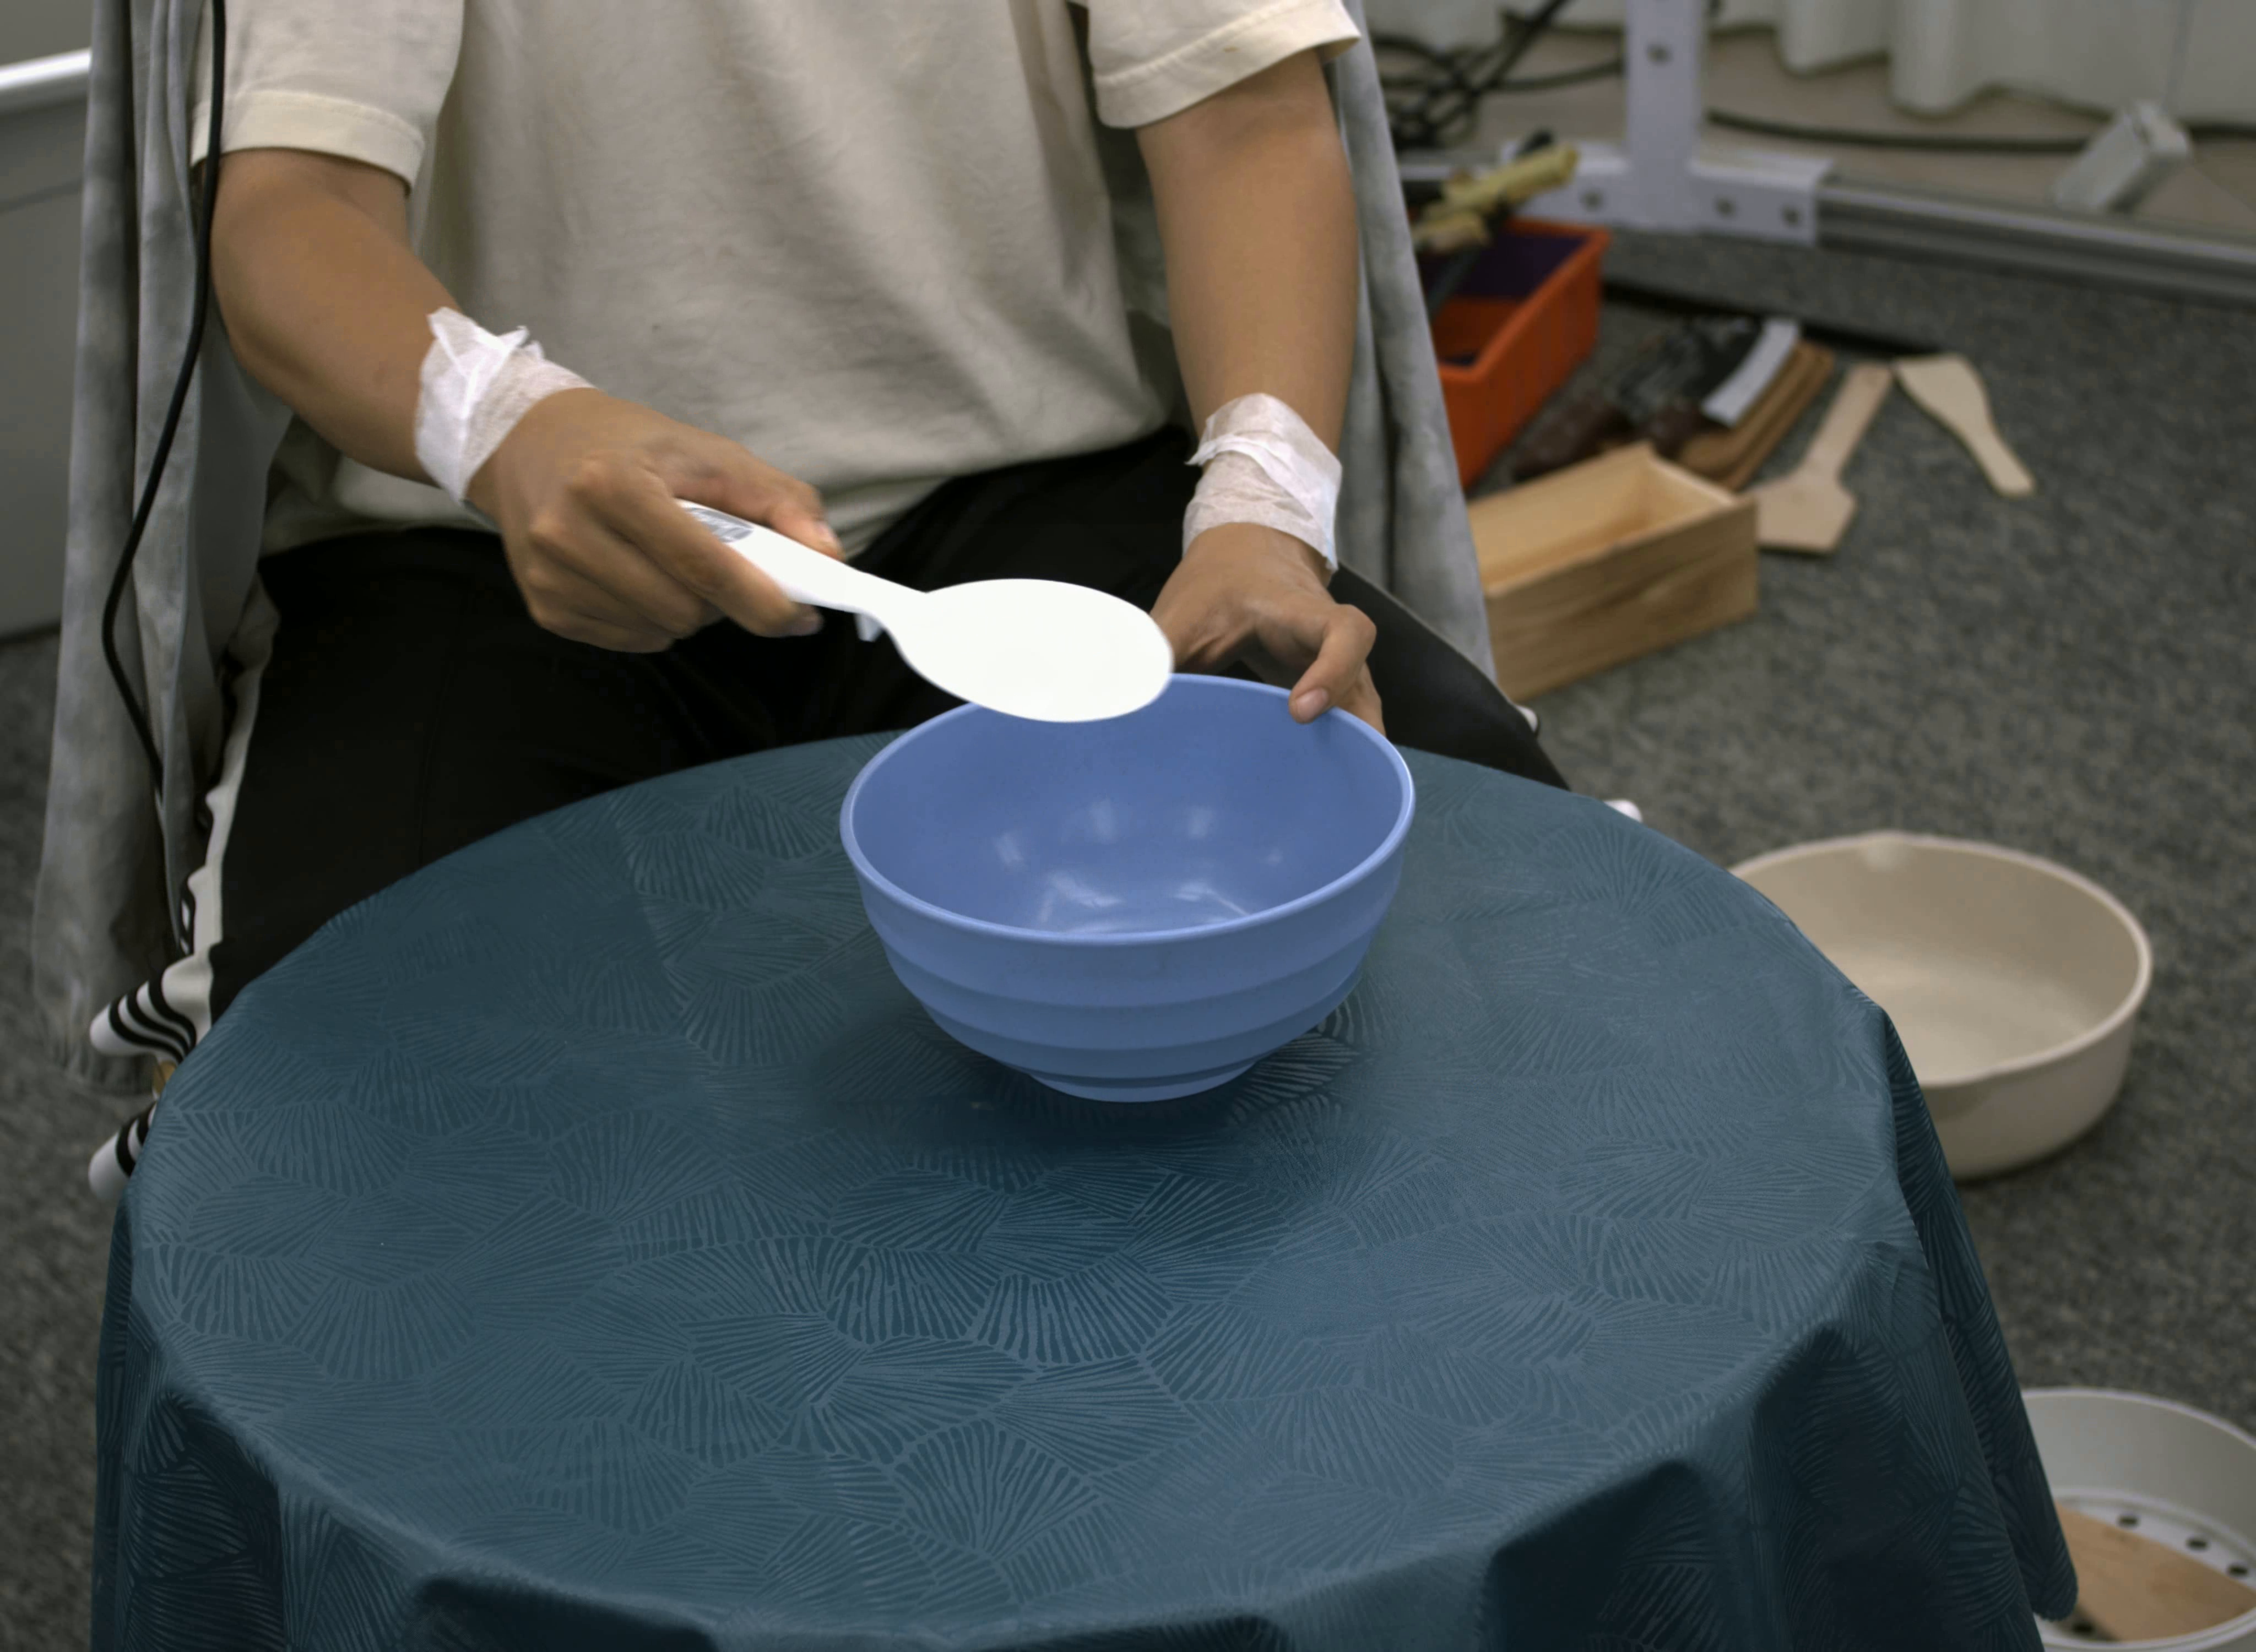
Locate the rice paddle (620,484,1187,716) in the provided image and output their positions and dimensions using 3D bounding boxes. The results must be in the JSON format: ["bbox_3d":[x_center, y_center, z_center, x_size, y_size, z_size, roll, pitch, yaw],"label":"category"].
[{"bbox_3d":[-0.074,-0.076,1.872,0.204,0.029,0.070,16,44,22],"label":"rice paddle"}]

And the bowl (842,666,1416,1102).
[{"bbox_3d":[0.003,0.031,1.932,0.195,0.094,0.199,-2,28,2],"label":"bowl"}]
